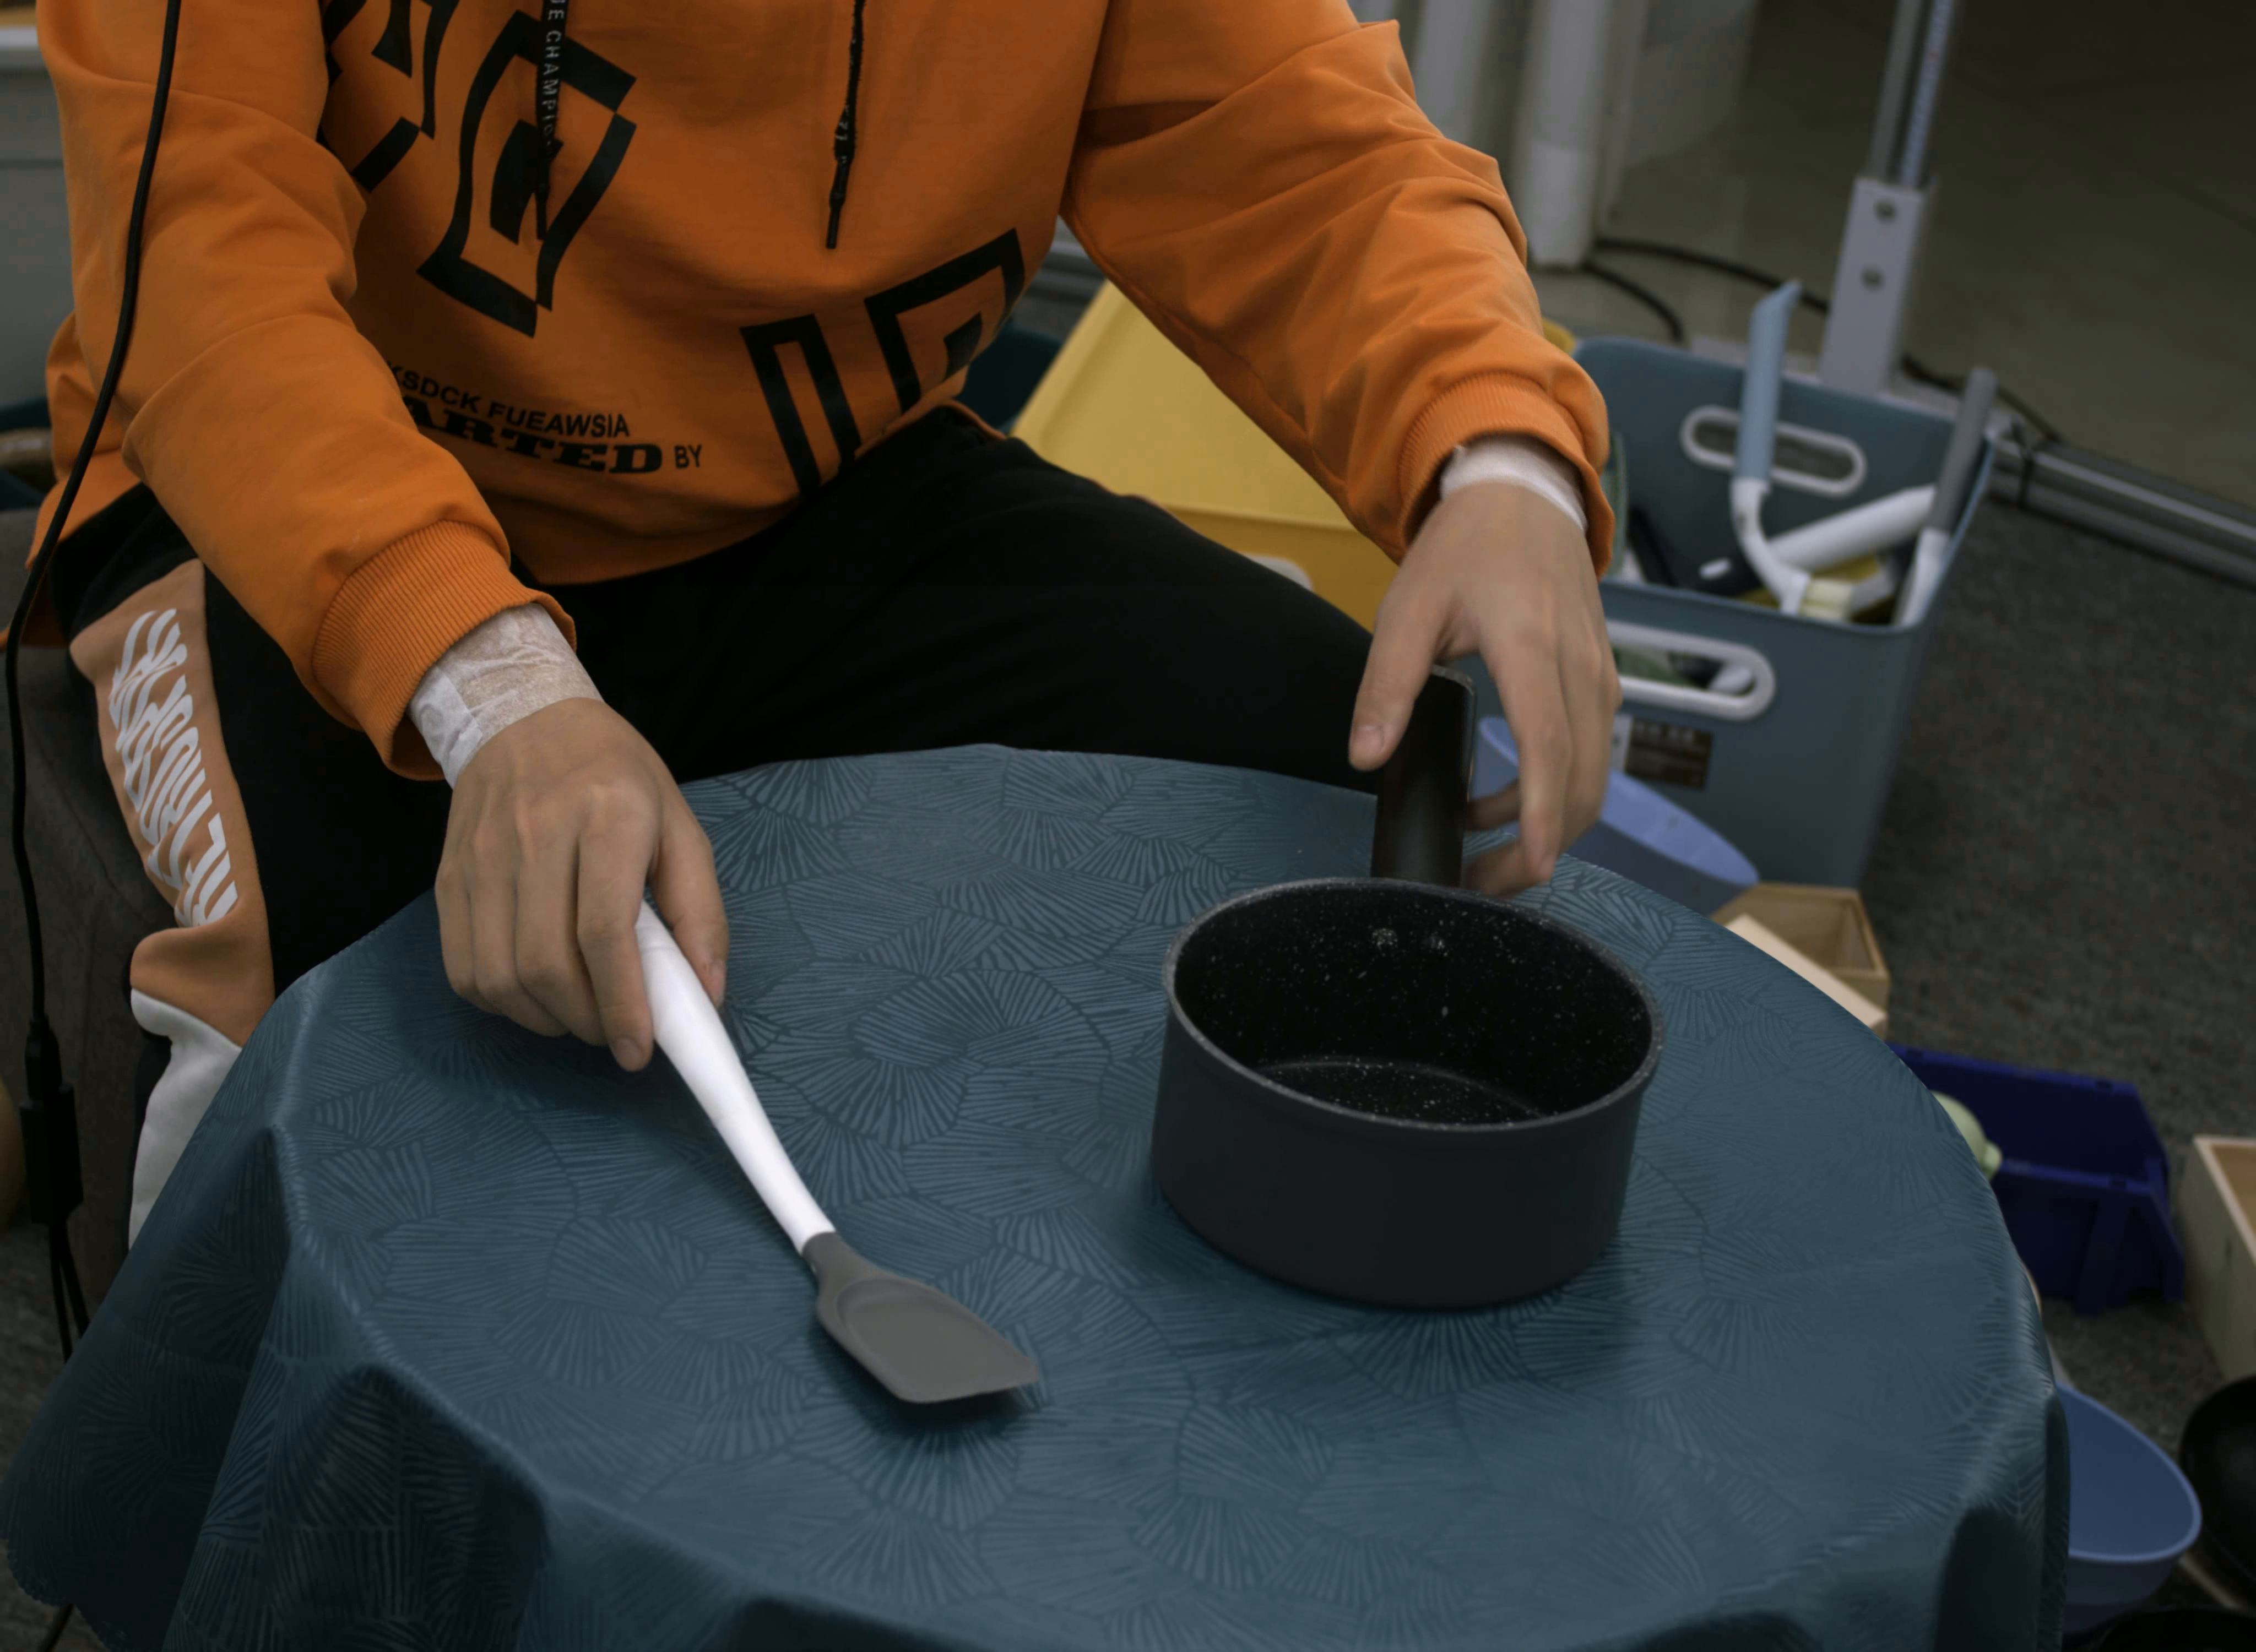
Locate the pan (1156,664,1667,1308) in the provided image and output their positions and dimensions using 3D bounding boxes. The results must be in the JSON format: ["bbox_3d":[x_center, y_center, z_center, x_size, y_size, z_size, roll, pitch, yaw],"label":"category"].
[{"bbox_3d":[0.102,0.052,1.873,0.172,0.086,0.330,9,29,3],"label":"pan"}]

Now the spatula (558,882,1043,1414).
[{"bbox_3d":[-0.116,0.110,1.759,0.058,0.032,0.290,-3,34,-33],"label":"spatula"}]
